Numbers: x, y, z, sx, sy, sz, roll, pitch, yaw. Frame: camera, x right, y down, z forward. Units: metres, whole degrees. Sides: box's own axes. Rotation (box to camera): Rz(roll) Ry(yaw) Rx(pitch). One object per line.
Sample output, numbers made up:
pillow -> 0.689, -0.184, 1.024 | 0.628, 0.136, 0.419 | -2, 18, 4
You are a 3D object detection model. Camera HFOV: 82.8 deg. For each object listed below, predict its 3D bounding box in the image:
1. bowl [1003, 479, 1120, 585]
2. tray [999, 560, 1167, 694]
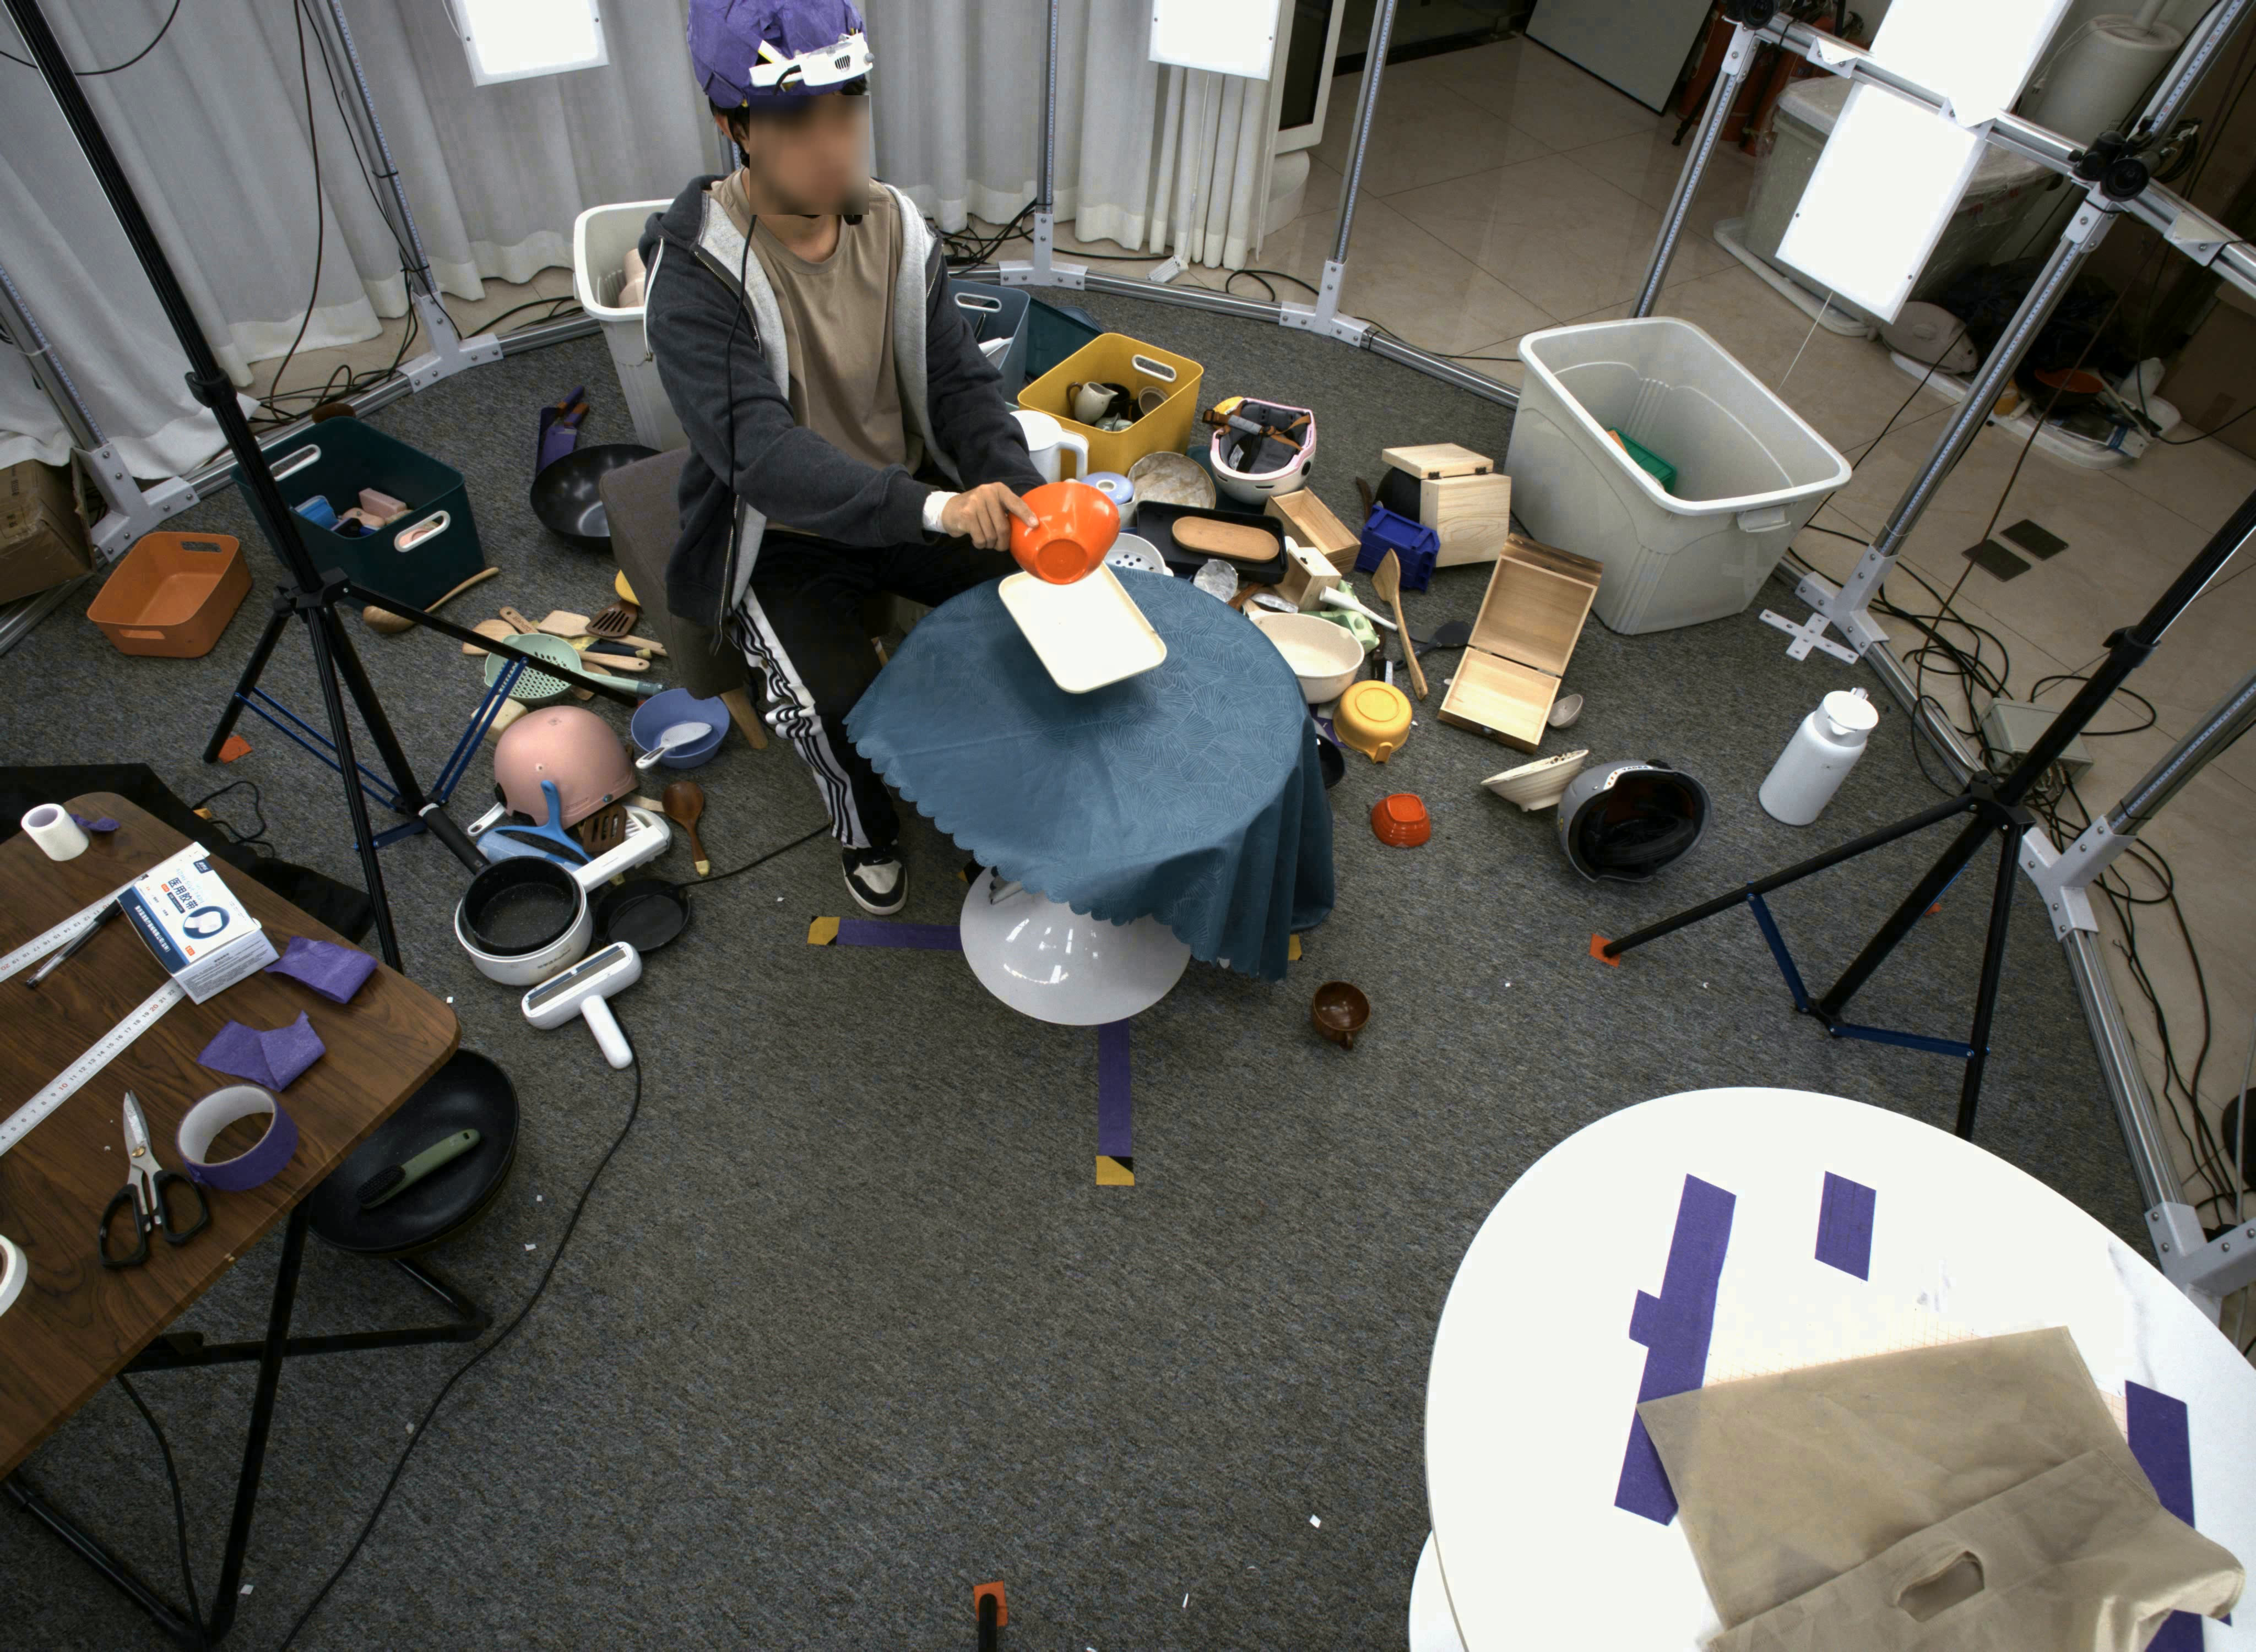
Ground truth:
bowl -> -0.079, -0.347, 1.590 | 0.148, 0.144, 0.107 | -1, 42, -6
tray -> -0.065, -0.288, 1.820 | 0.172, 0.017, 0.244 | -21, 57, -19
